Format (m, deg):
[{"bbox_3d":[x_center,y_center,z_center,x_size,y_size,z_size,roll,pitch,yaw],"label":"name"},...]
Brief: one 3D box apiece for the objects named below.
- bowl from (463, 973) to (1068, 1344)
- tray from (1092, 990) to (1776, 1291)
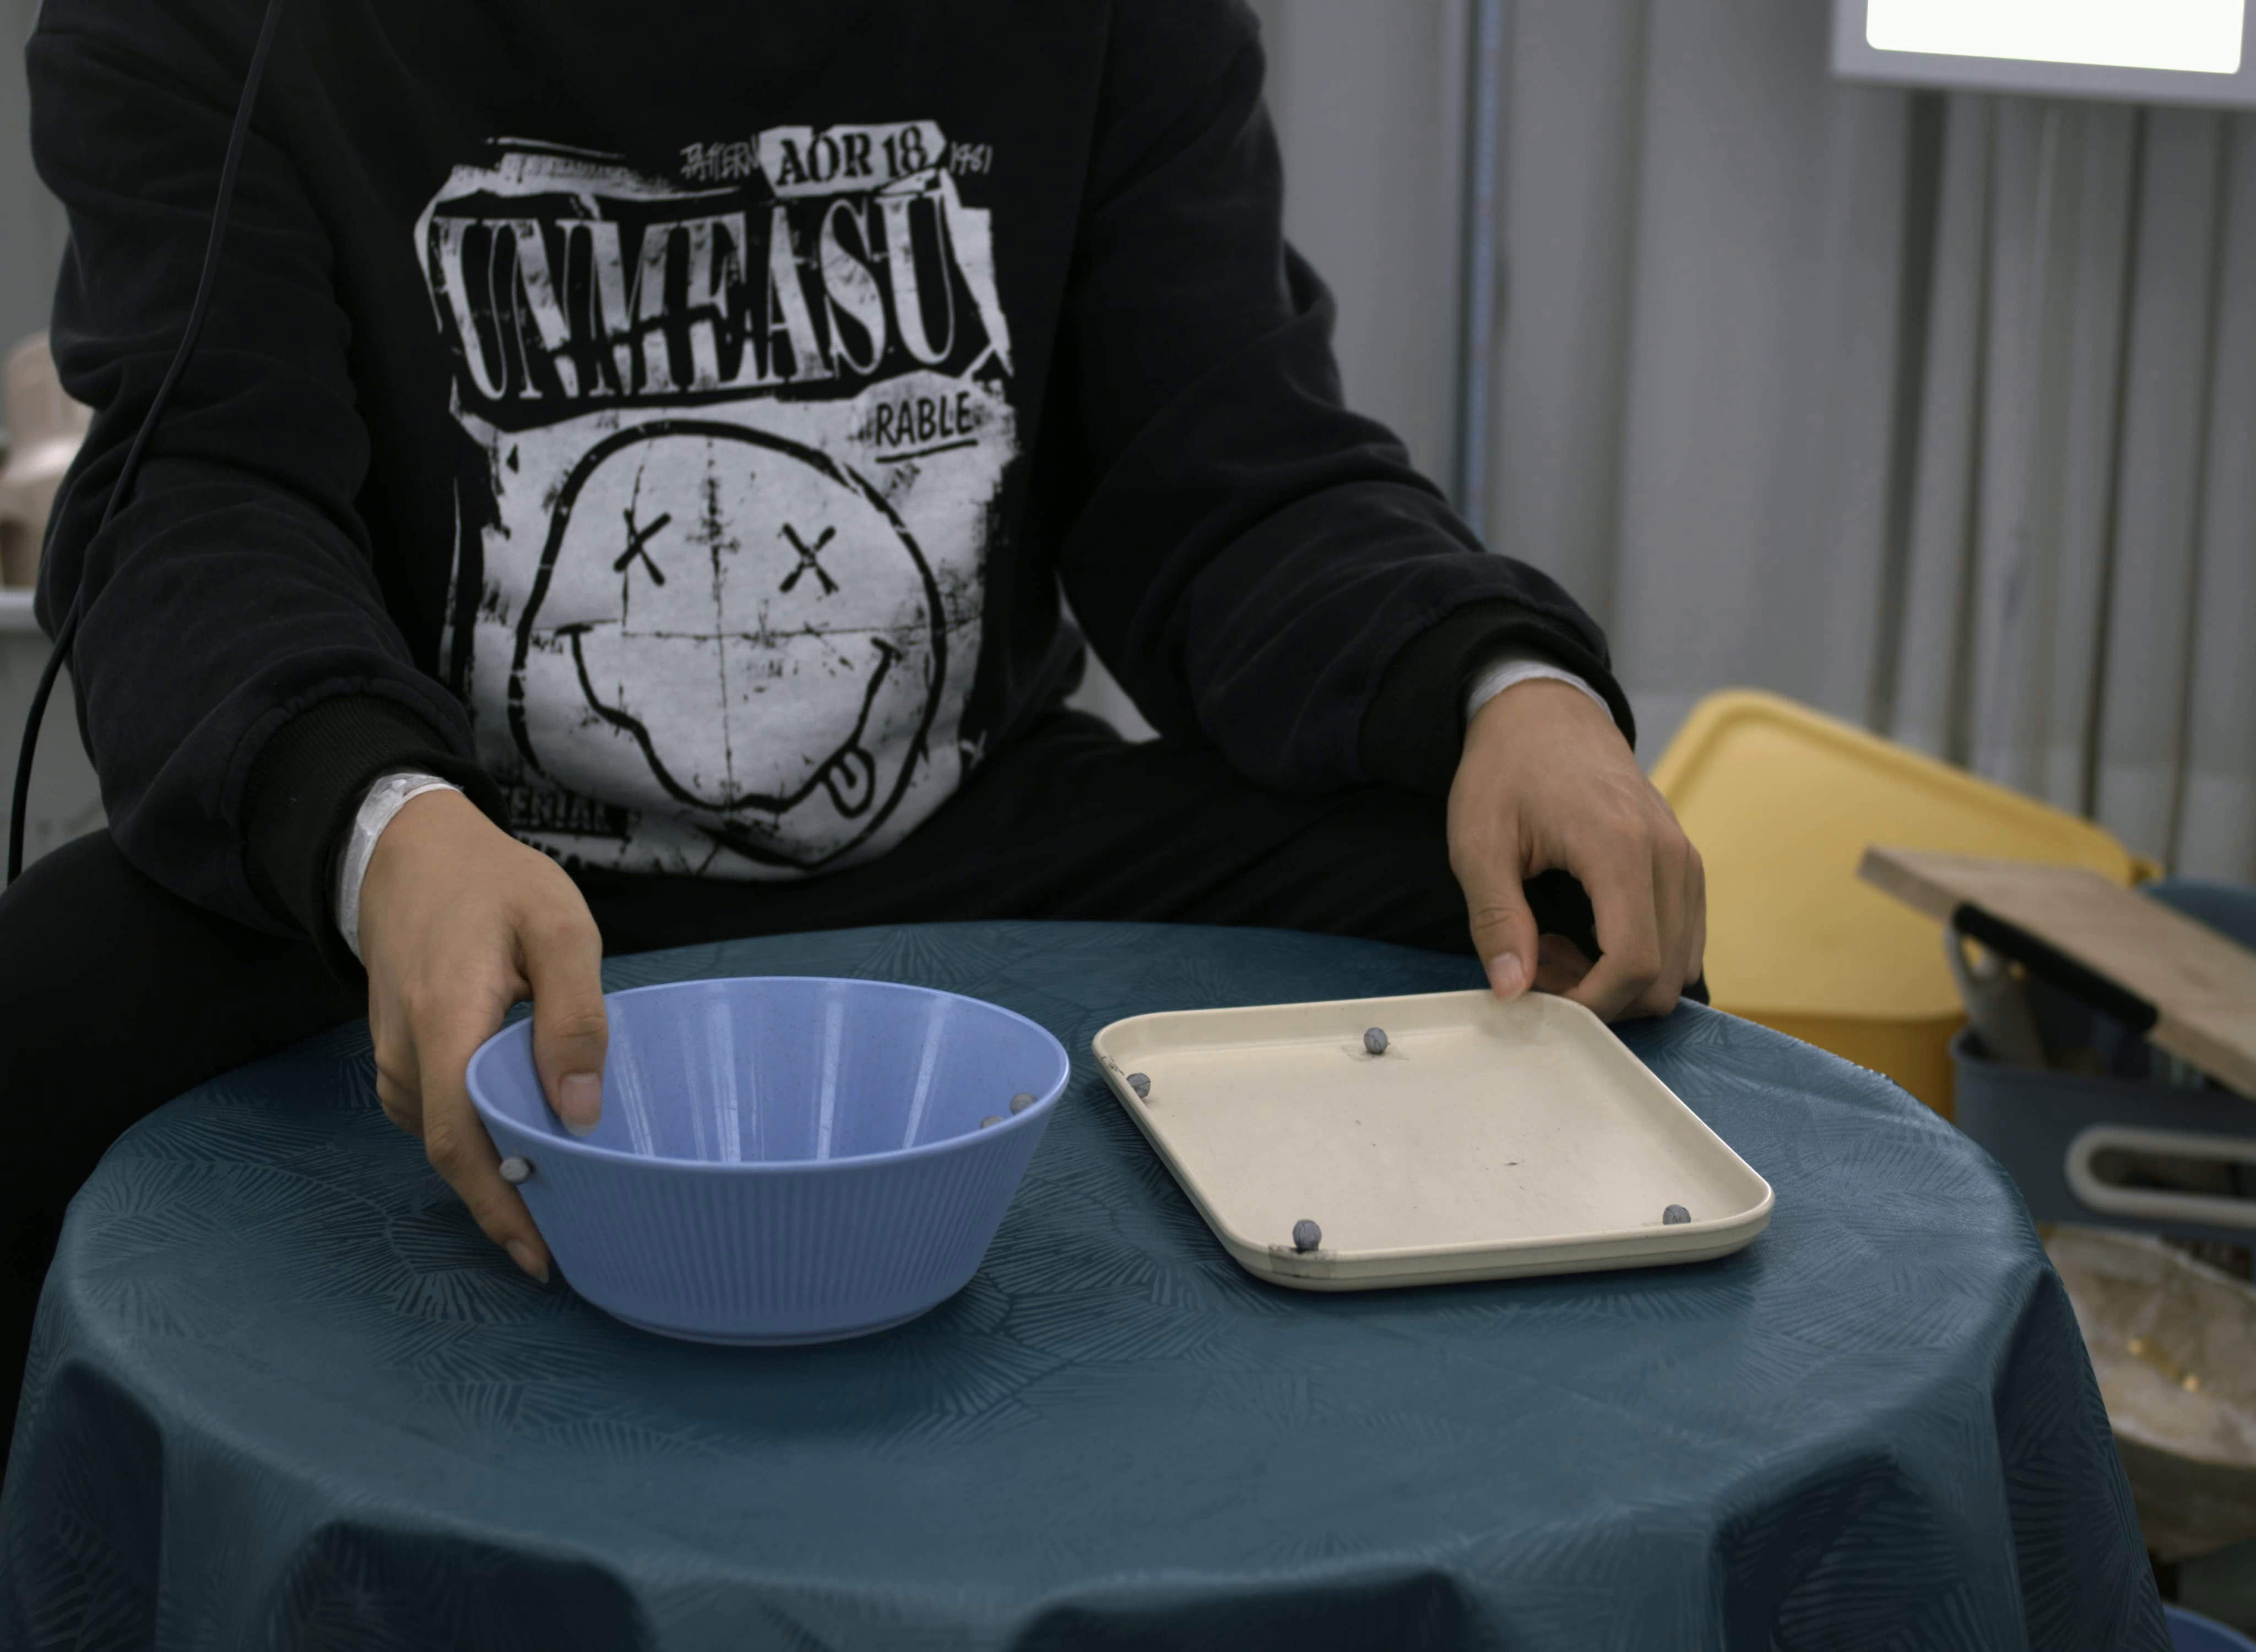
[{"bbox_3d":[-0.105,0.100,1.537,0.175,0.071,0.175,1,17,0],"label":"bowl"},{"bbox_3d":[0.091,0.097,1.652,0.171,0.017,0.237,-2,16,-13],"label":"tray"}]
